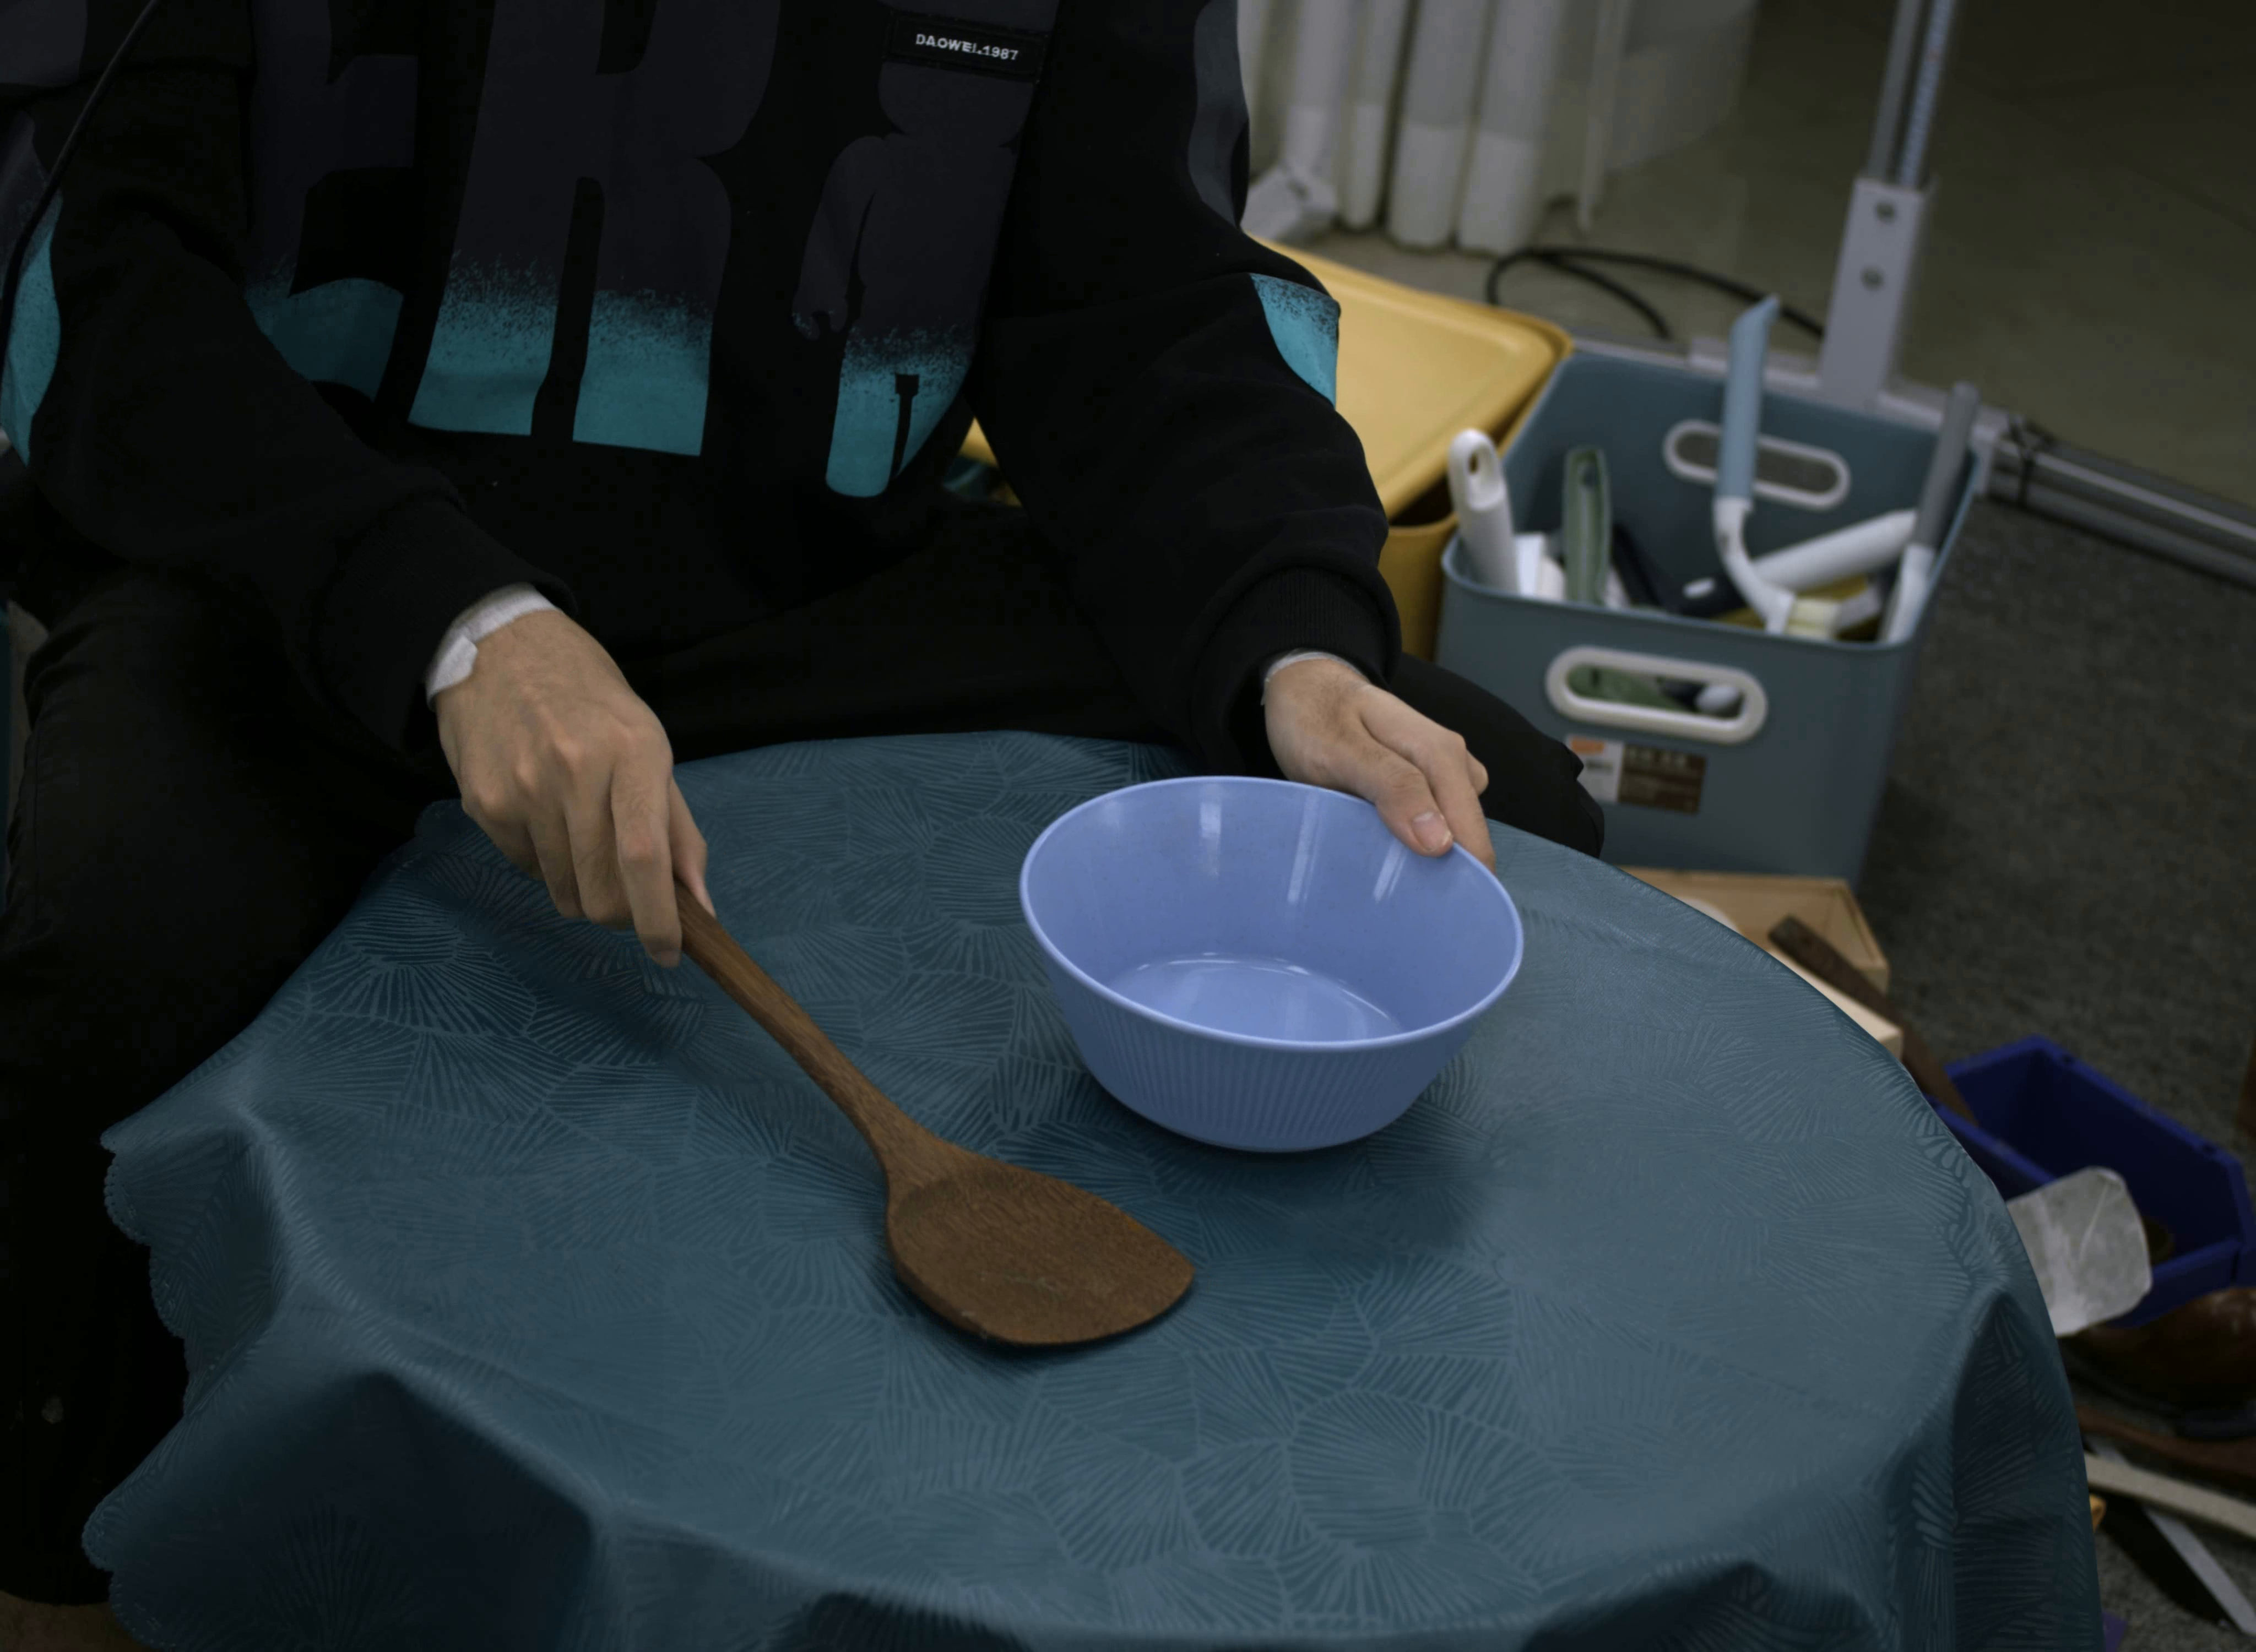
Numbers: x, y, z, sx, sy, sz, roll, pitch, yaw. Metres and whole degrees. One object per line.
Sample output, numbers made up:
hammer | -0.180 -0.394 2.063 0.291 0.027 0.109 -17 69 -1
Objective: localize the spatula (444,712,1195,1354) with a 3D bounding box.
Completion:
spatula | -0.124 0.062 1.825 0.095 0.016 0.389 -14 43 -39

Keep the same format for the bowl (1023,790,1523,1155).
bowl | 0.047 0.057 1.854 0.175 0.070 0.177 6 28 -3
